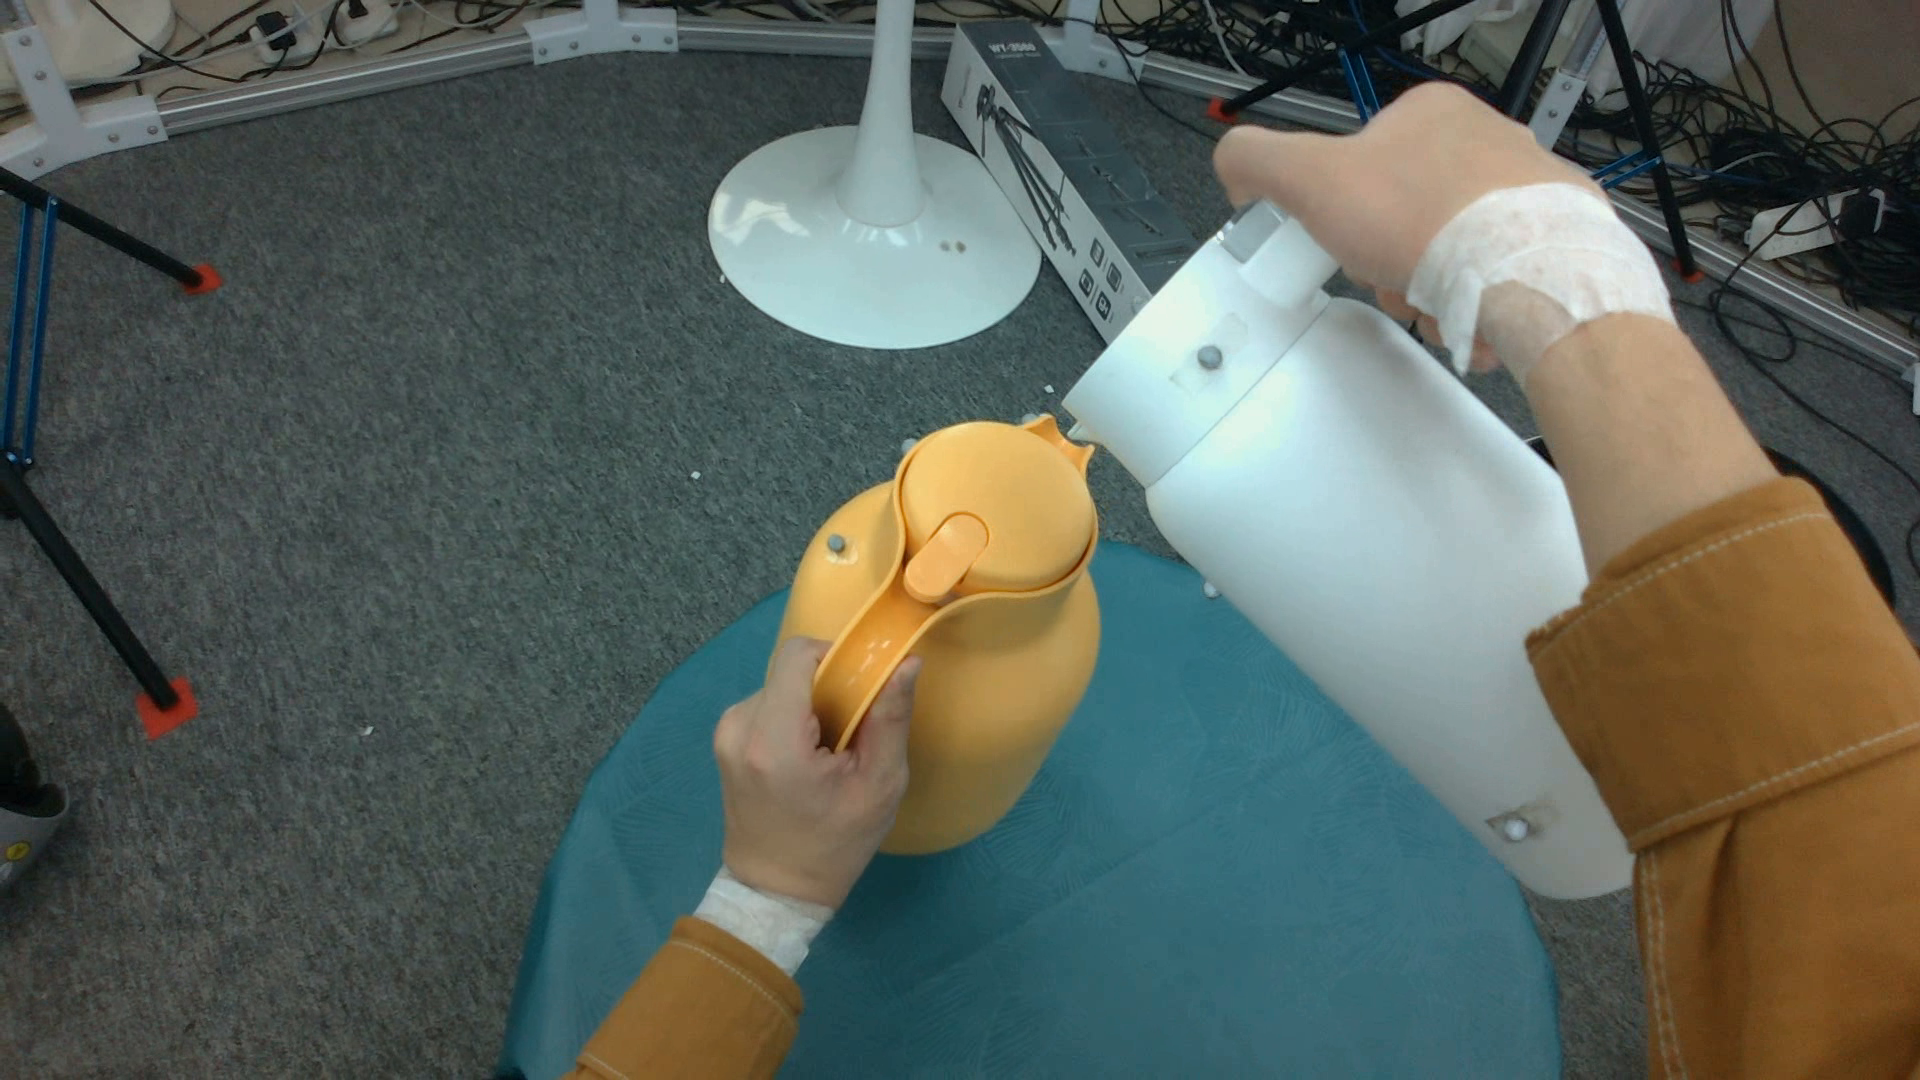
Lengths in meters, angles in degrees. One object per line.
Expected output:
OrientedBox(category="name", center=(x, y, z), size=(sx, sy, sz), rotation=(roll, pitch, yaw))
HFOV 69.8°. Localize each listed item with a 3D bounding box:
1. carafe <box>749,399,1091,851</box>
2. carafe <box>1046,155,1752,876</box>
OrientedBox(category="carafe", center=(-0.028, 0.053, 0.701), size=(0.163, 0.259, 0.203), rotation=(36, 52, 13))
OrientedBox(category="carafe", center=(0.174, -0.011, 0.521), size=(0.269, 0.172, 0.124), rotation=(46, 43, 1))
